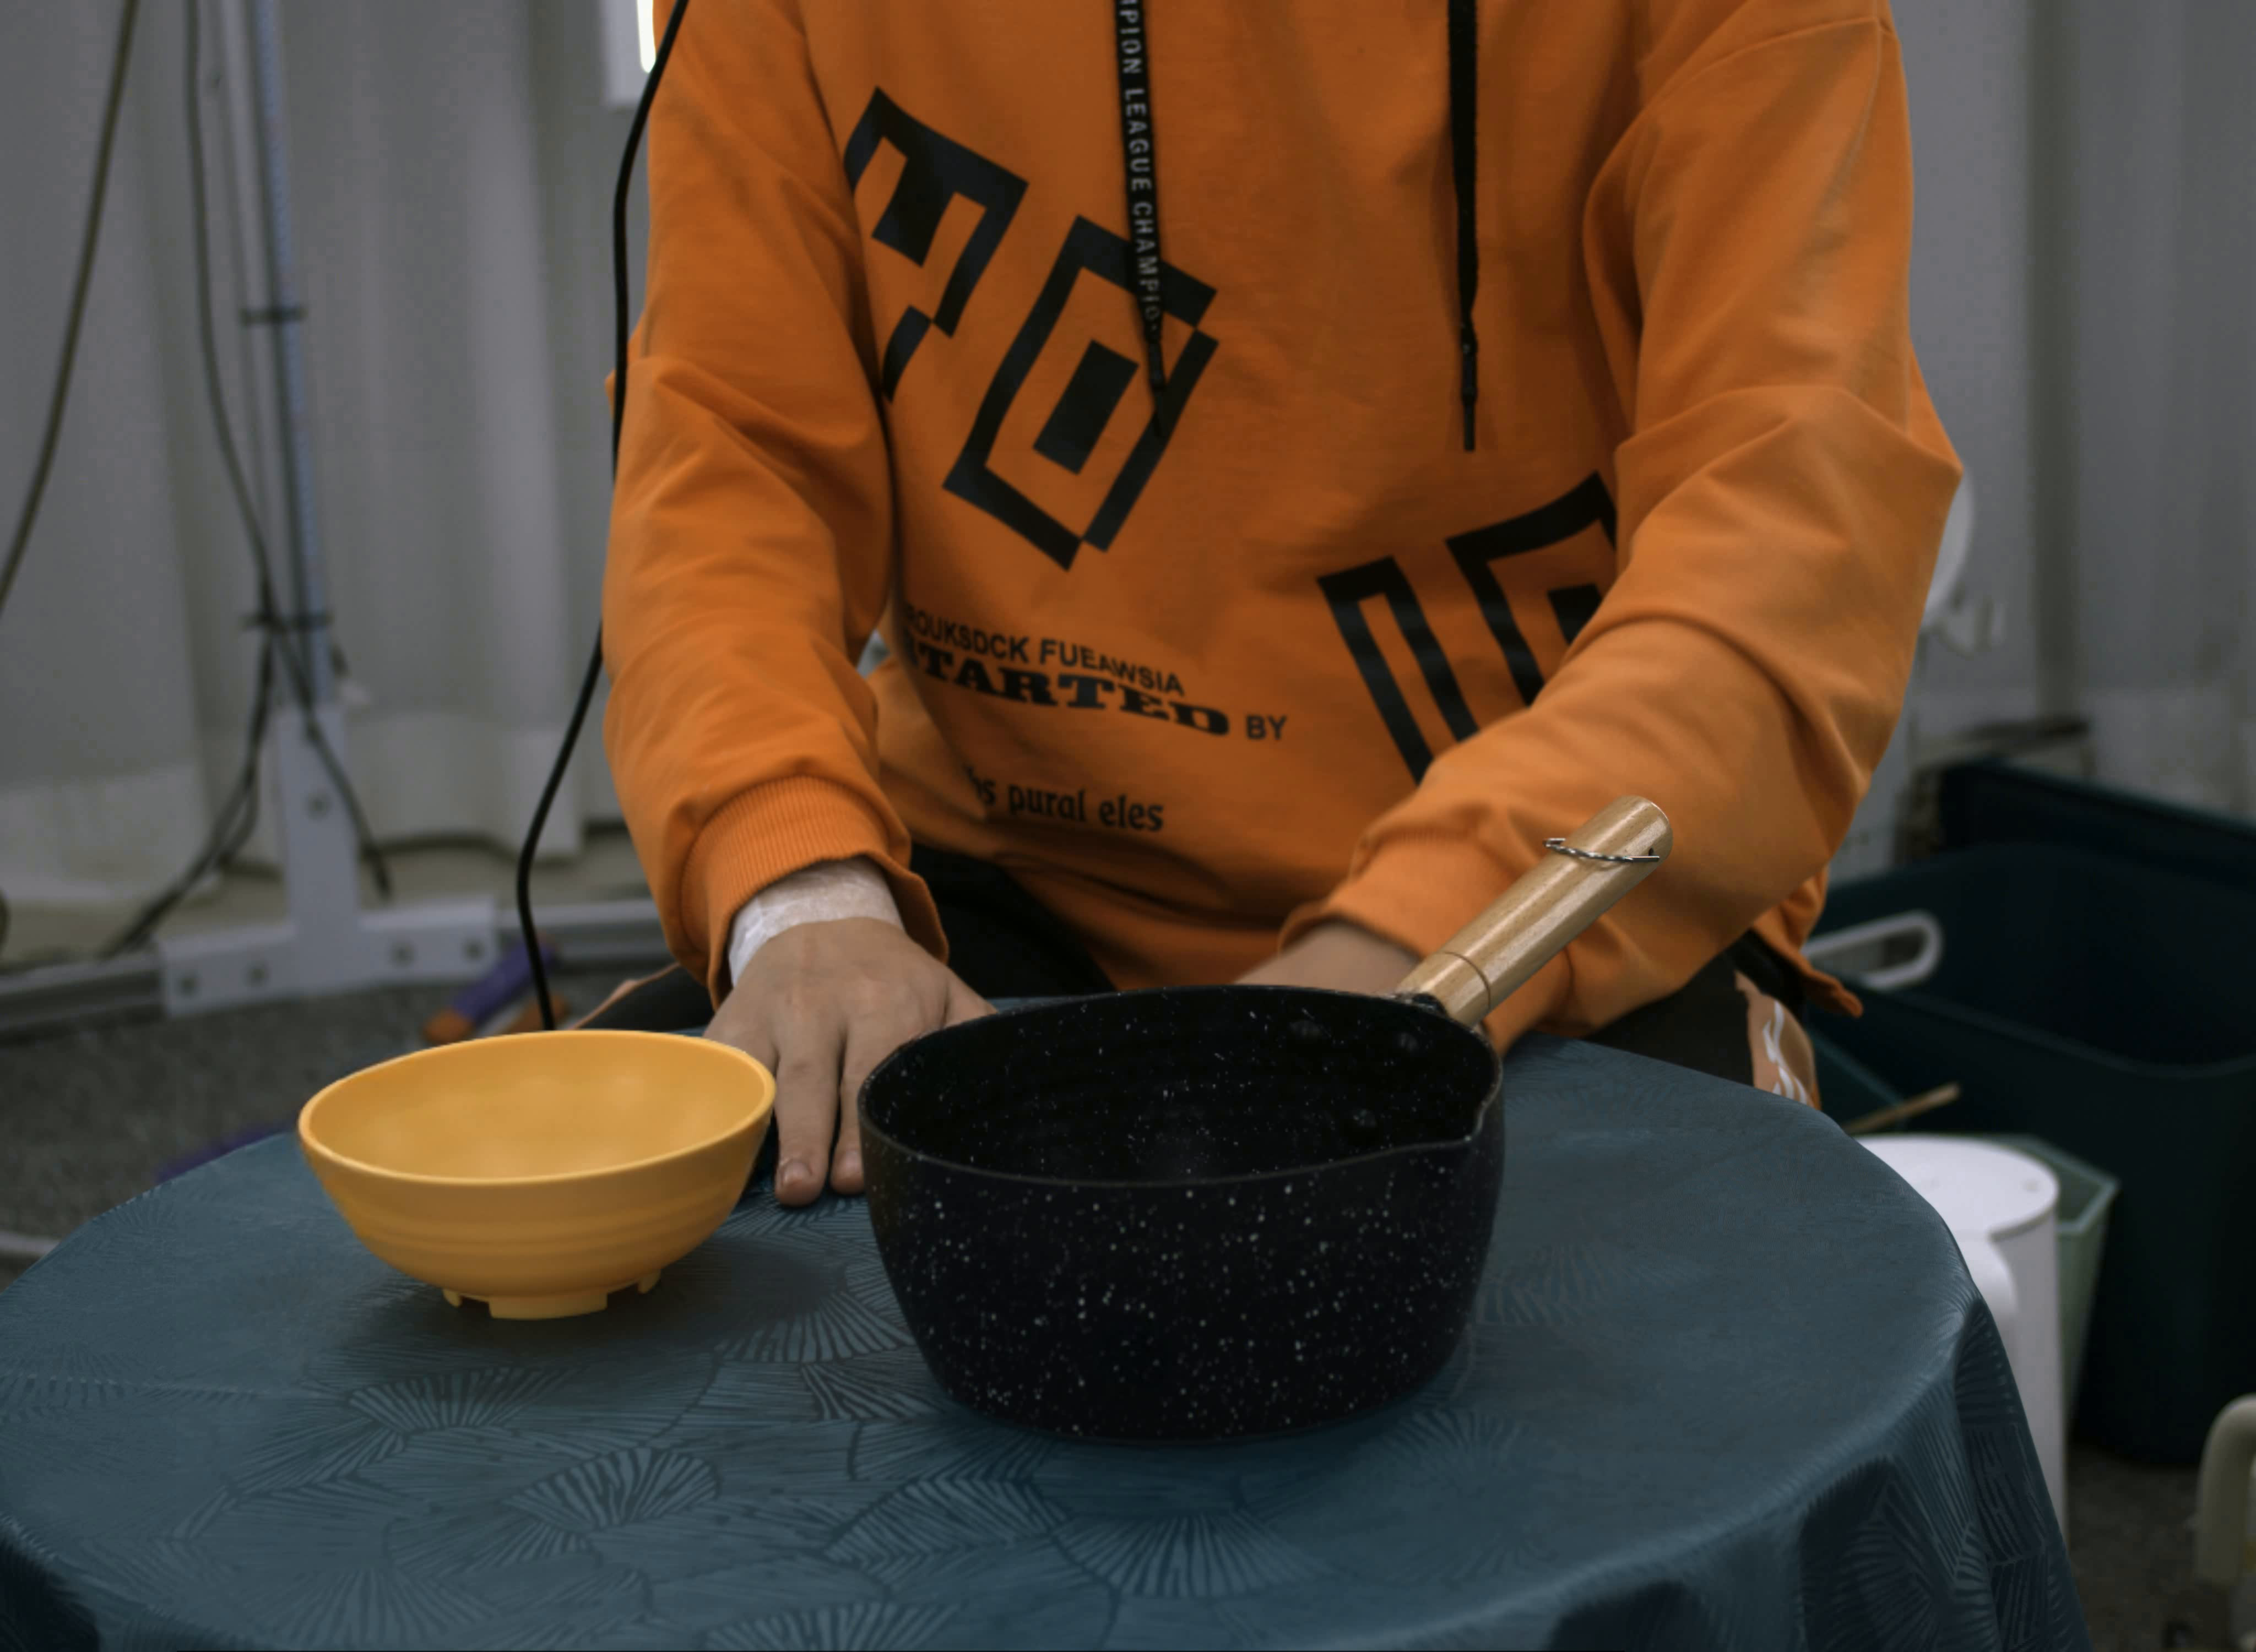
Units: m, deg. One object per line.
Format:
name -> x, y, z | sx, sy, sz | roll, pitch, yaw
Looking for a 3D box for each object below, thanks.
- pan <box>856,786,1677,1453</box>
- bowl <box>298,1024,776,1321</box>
pan -> 0.063, 0.082, 1.619 | 0.208, 0.108, 0.343 | 6, 19, 36
bowl -> -0.177, 0.110, 1.654 | 0.145, 0.060, 0.146 | -1, 16, 0
